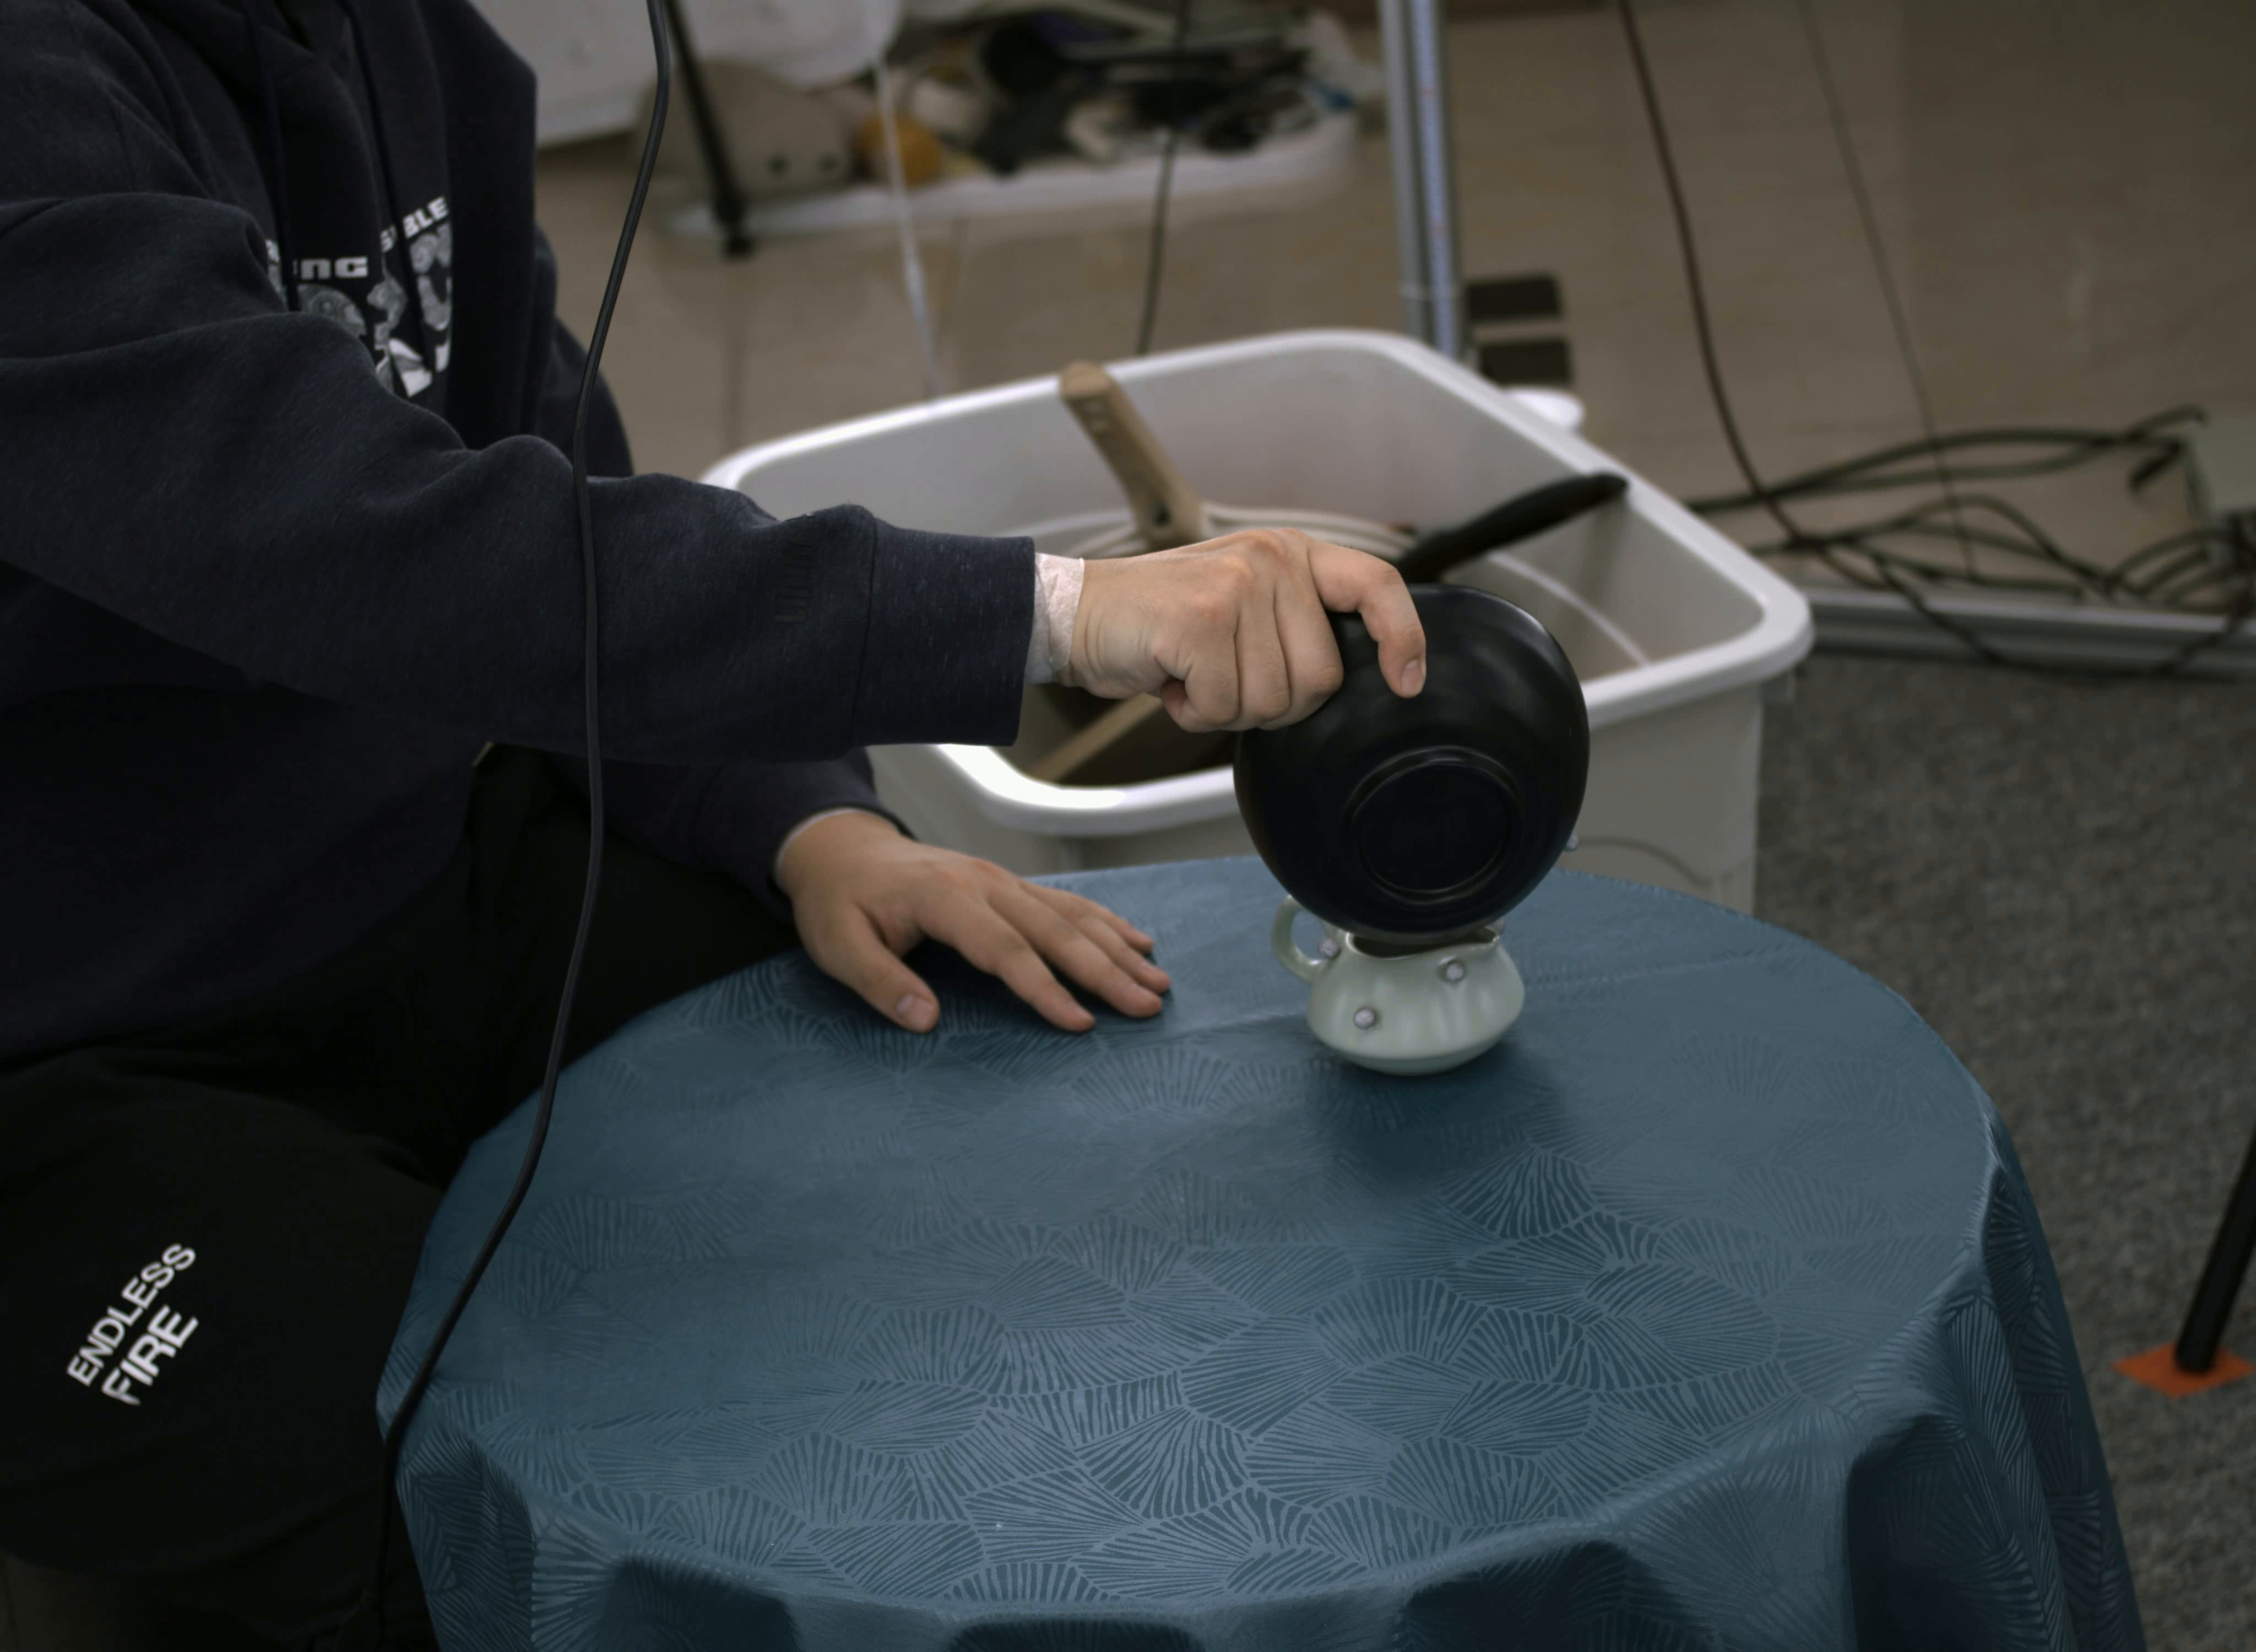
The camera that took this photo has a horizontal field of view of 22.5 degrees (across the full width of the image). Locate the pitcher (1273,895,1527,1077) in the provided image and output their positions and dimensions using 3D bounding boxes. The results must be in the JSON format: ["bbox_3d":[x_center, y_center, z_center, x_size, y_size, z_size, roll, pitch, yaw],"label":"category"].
[{"bbox_3d":[0.103,0.061,2.226,0.107,0.061,0.085,10,29,34],"label":"pitcher"}]

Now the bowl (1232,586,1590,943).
[{"bbox_3d":[0.111,-0.014,2.128,0.137,0.173,0.065,-12,40,-1],"label":"bowl"}]
